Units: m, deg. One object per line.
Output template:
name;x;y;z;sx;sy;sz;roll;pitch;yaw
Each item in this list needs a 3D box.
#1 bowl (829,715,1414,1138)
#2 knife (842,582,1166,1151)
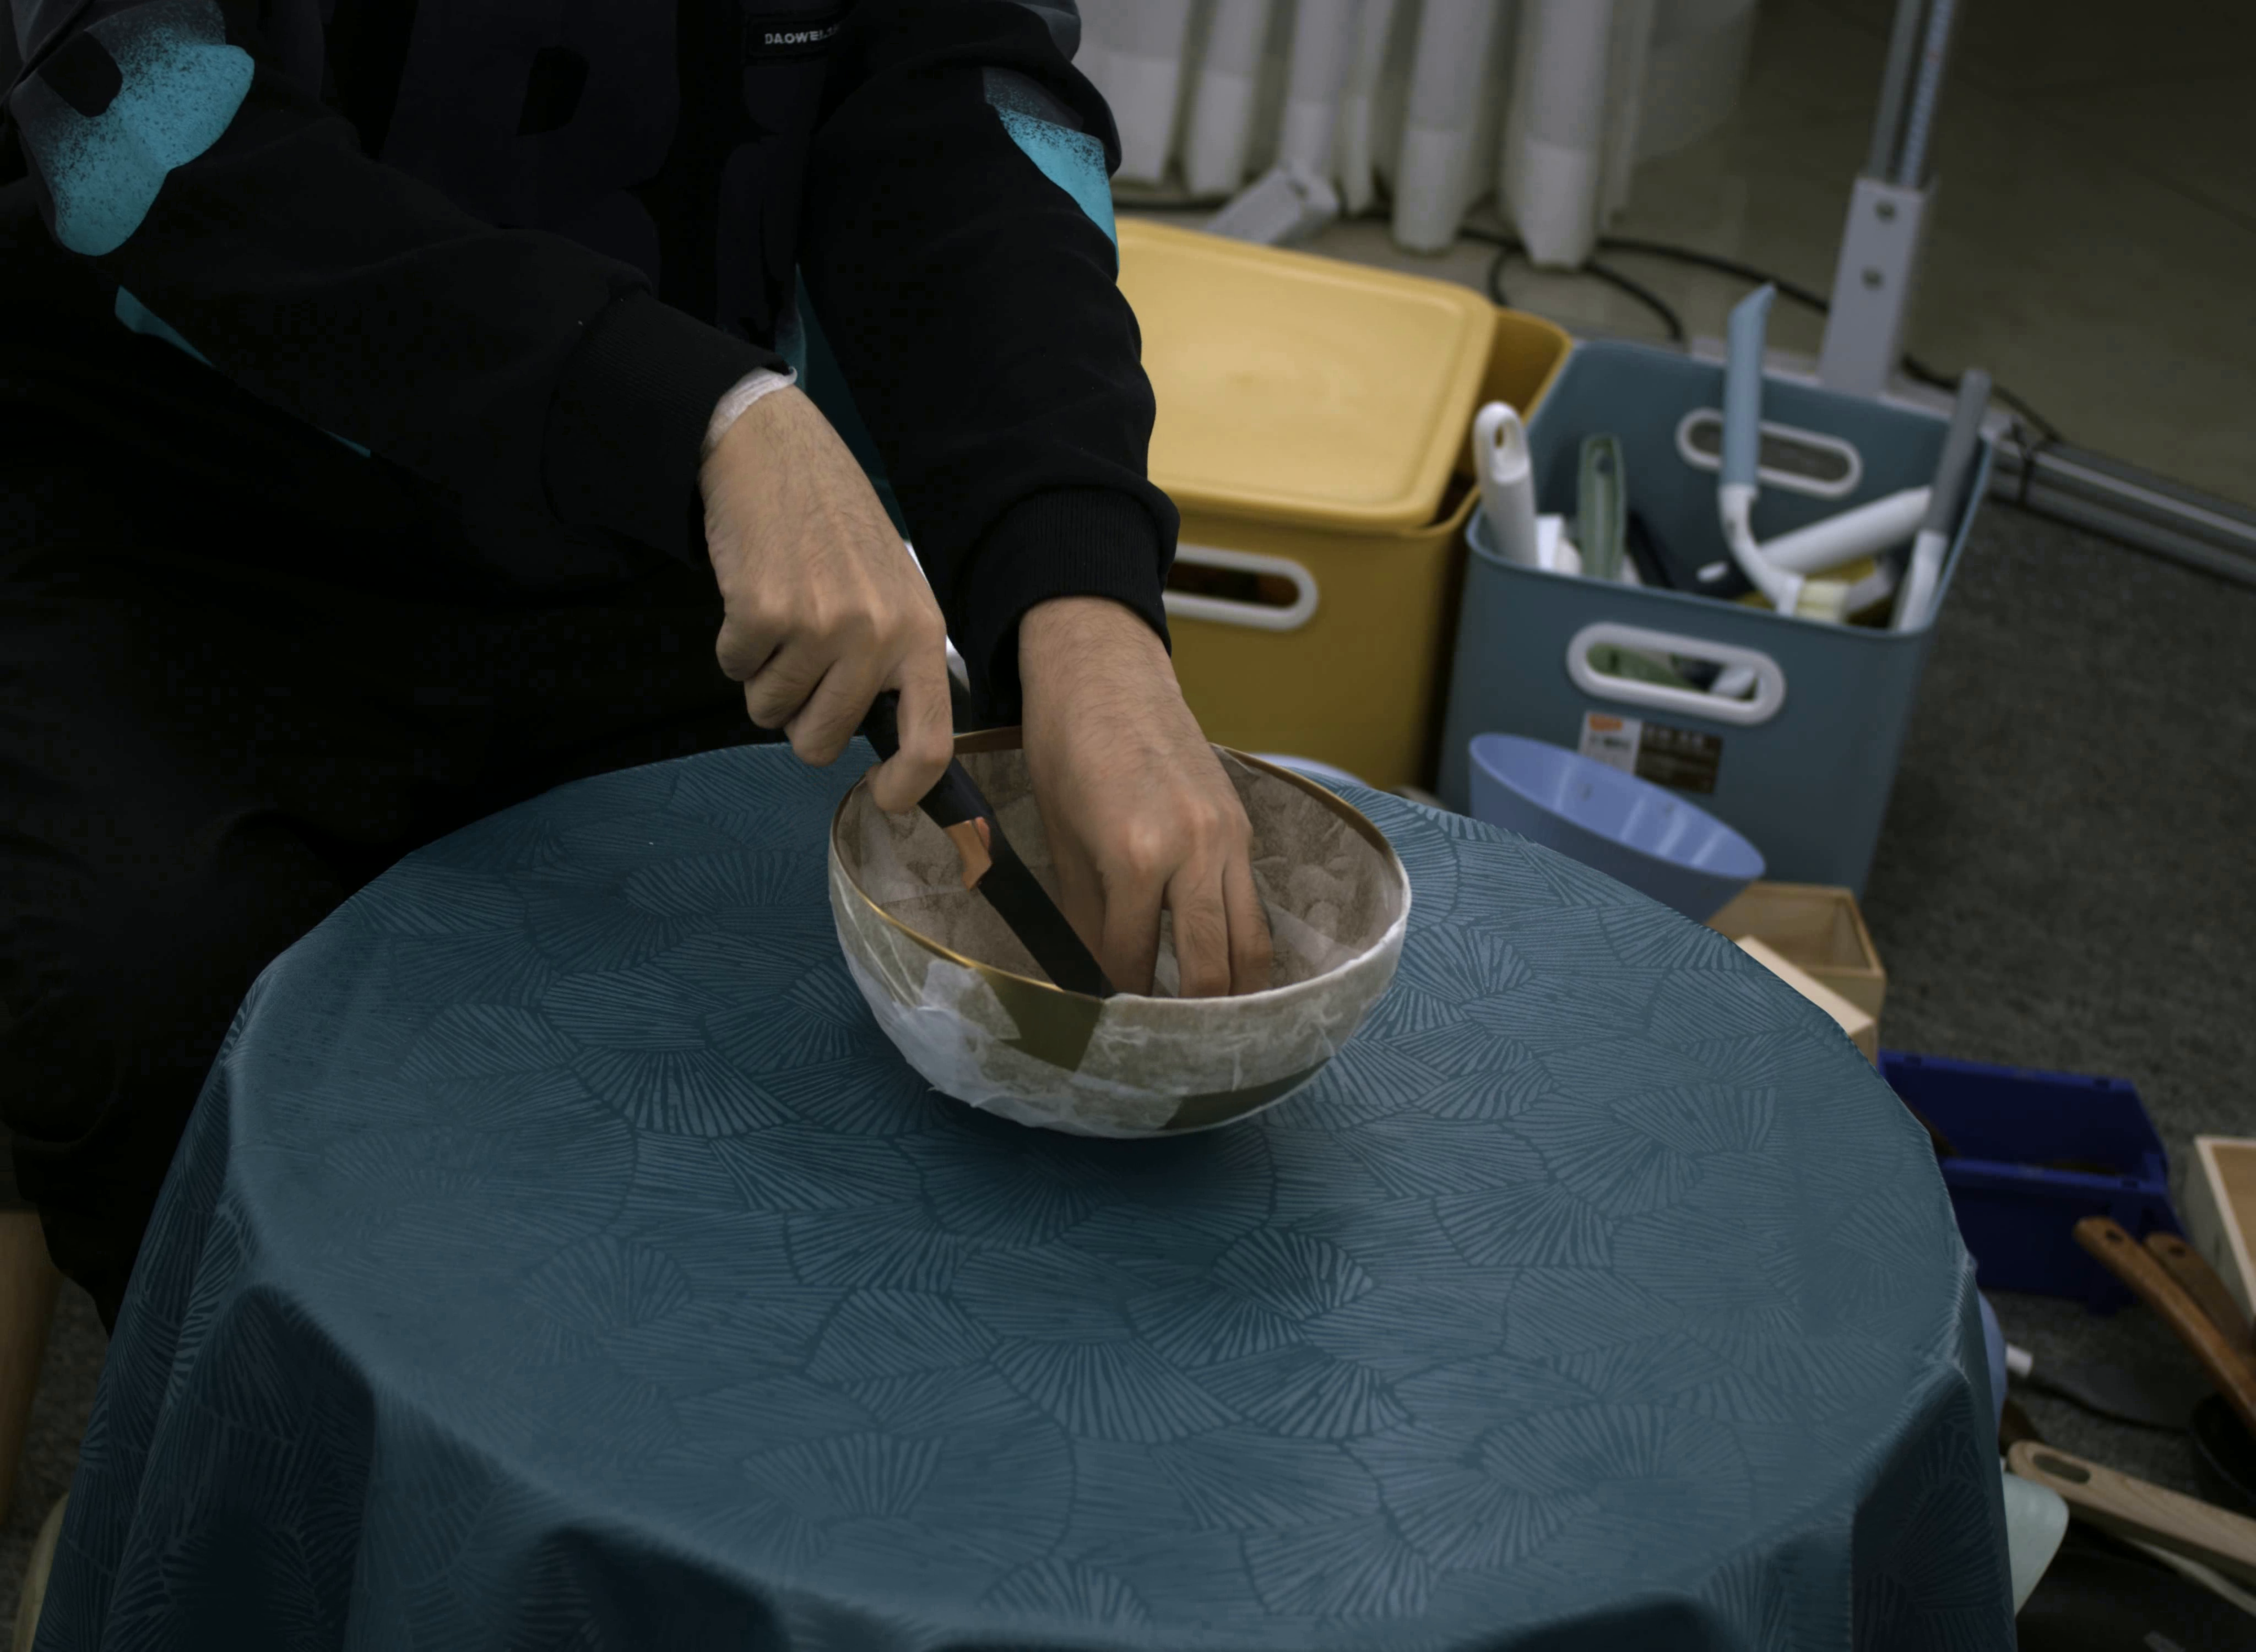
bowl;-0.007;0.046;1.848;0.214;0.094;0.216;4;28;-3
knife;-0.039;0.013;1.837;0.026;0.017;0.226;-26;76;-18
